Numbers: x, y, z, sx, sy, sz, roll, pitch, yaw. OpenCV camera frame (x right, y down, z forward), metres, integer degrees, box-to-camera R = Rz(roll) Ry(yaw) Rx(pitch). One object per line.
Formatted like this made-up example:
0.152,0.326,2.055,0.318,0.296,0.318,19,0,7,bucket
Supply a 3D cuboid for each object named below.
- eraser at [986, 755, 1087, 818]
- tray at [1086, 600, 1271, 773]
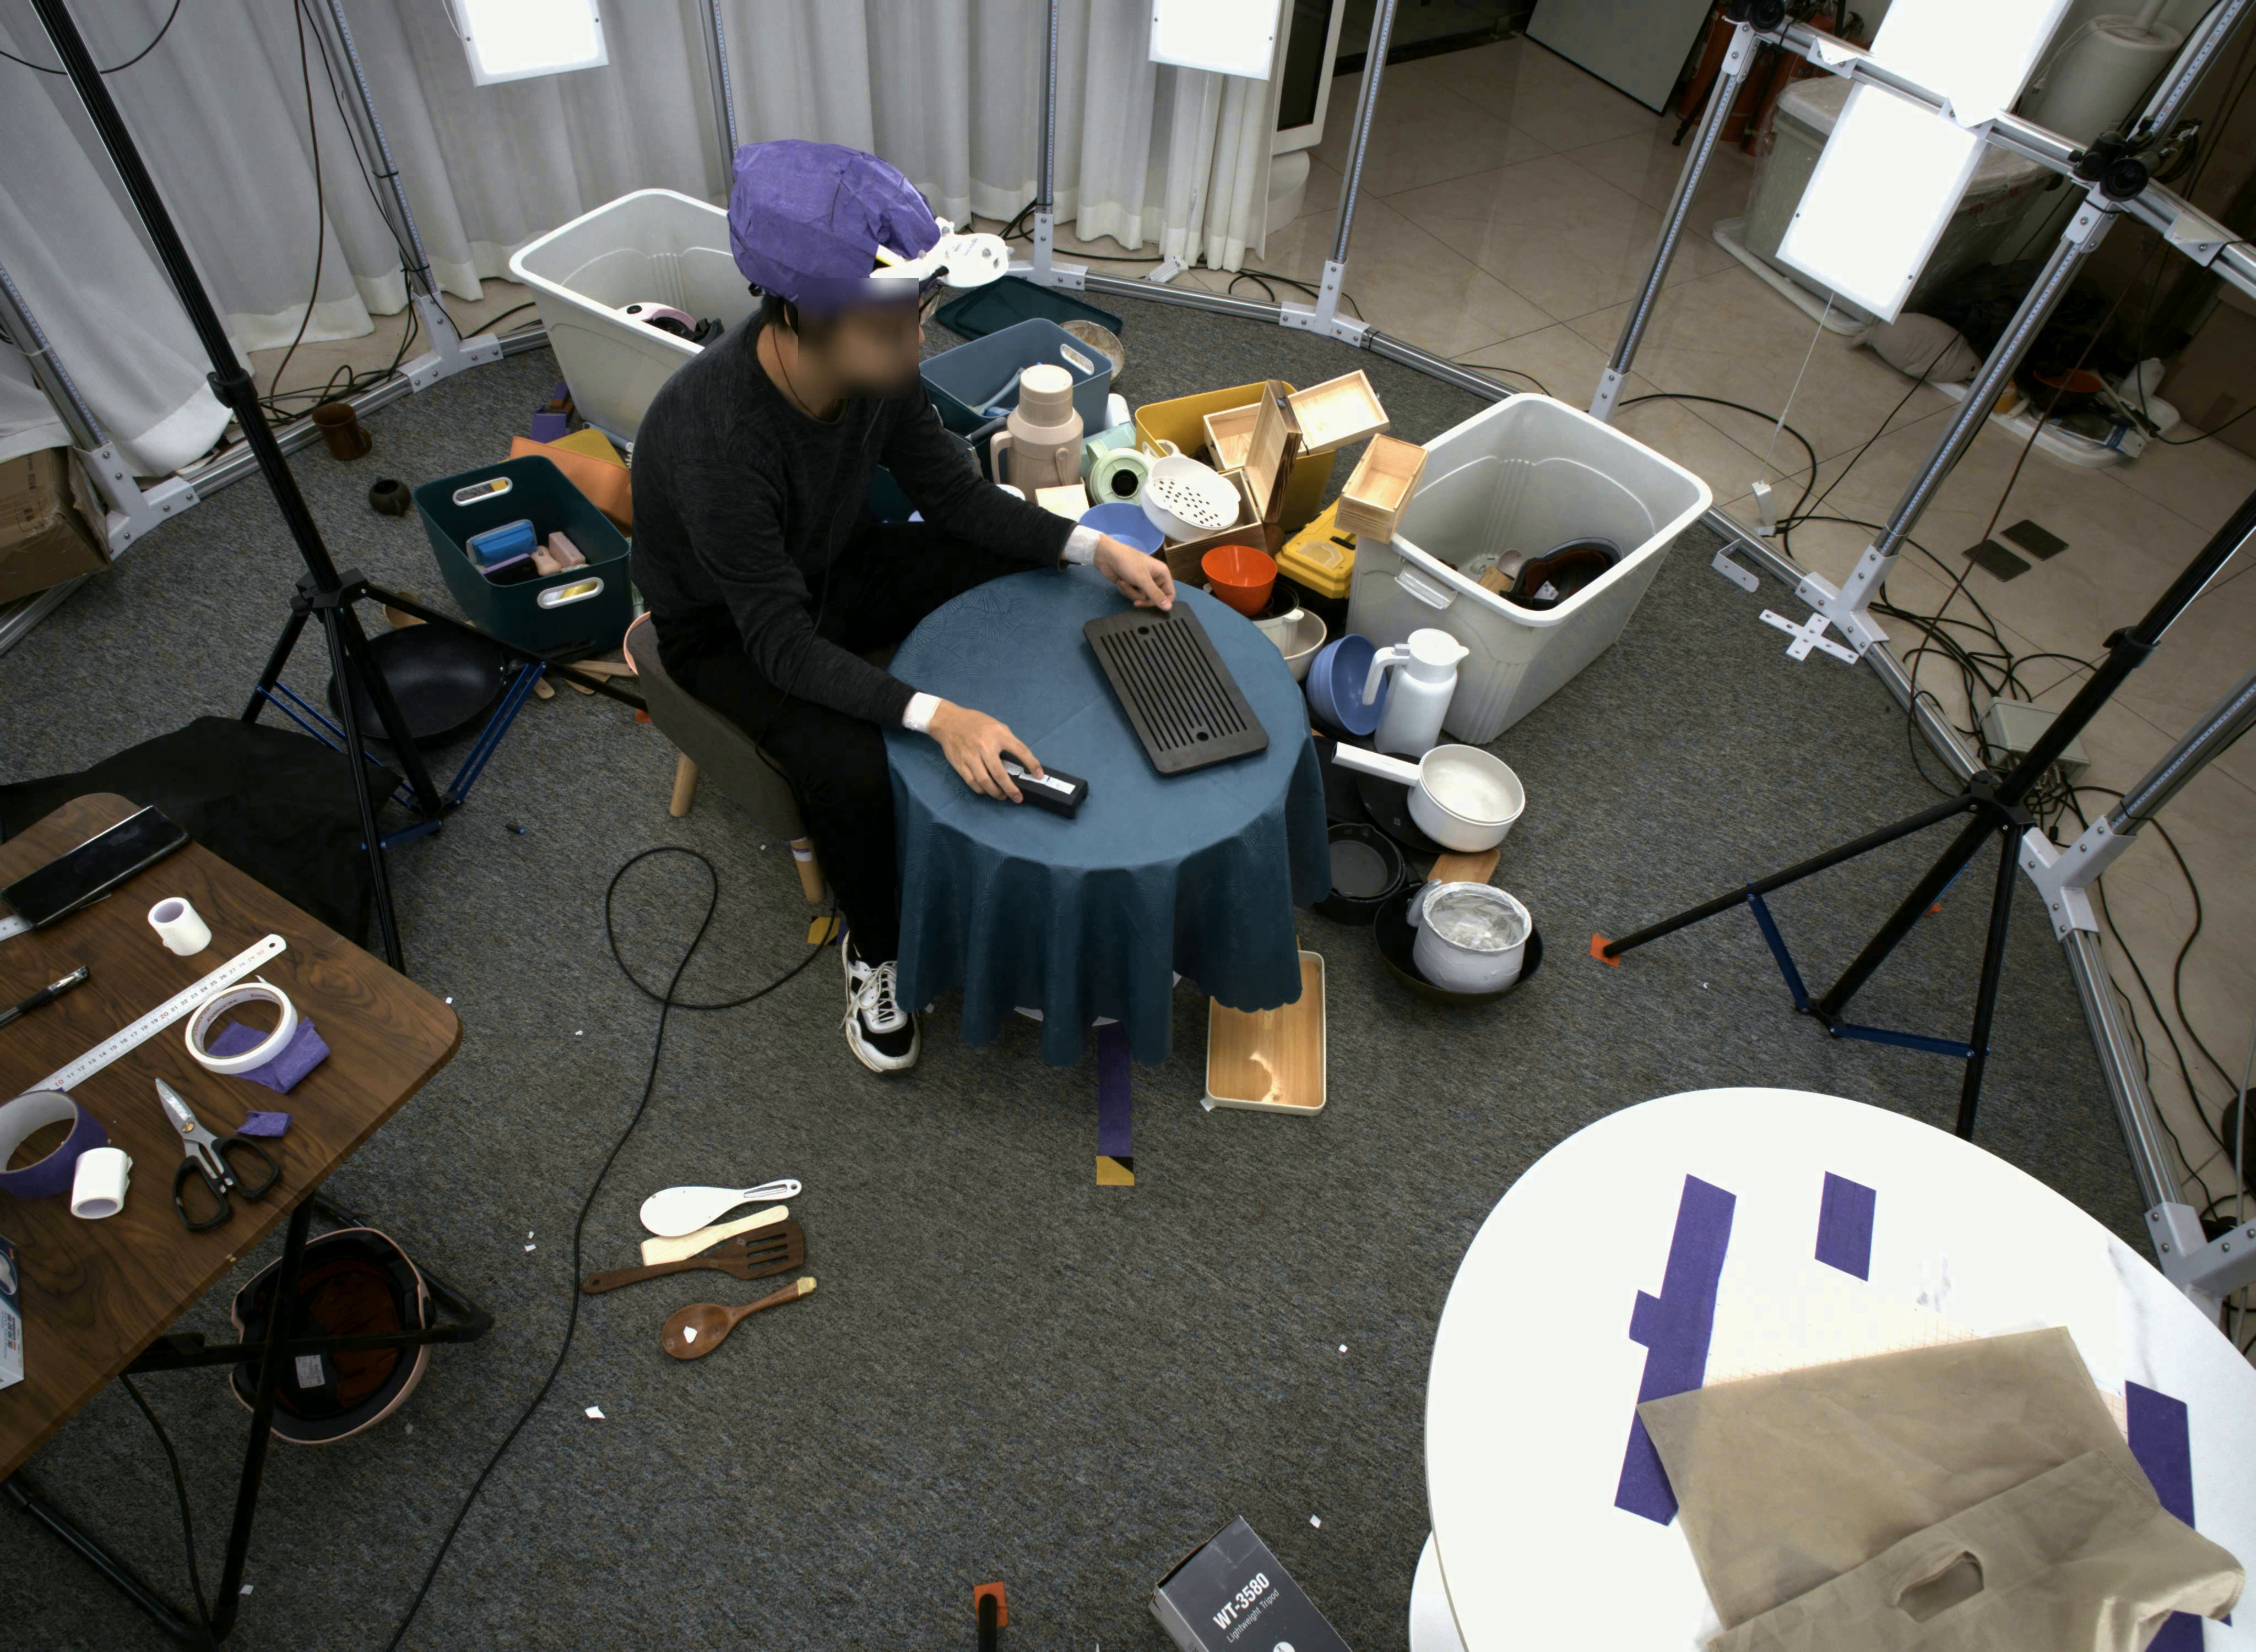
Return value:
-0.120,-0.053,1.690,0.126,0.030,0.054,19,49,13,eraser
0.068,-0.204,1.834,0.170,0.018,0.313,-15,53,-15,tray
